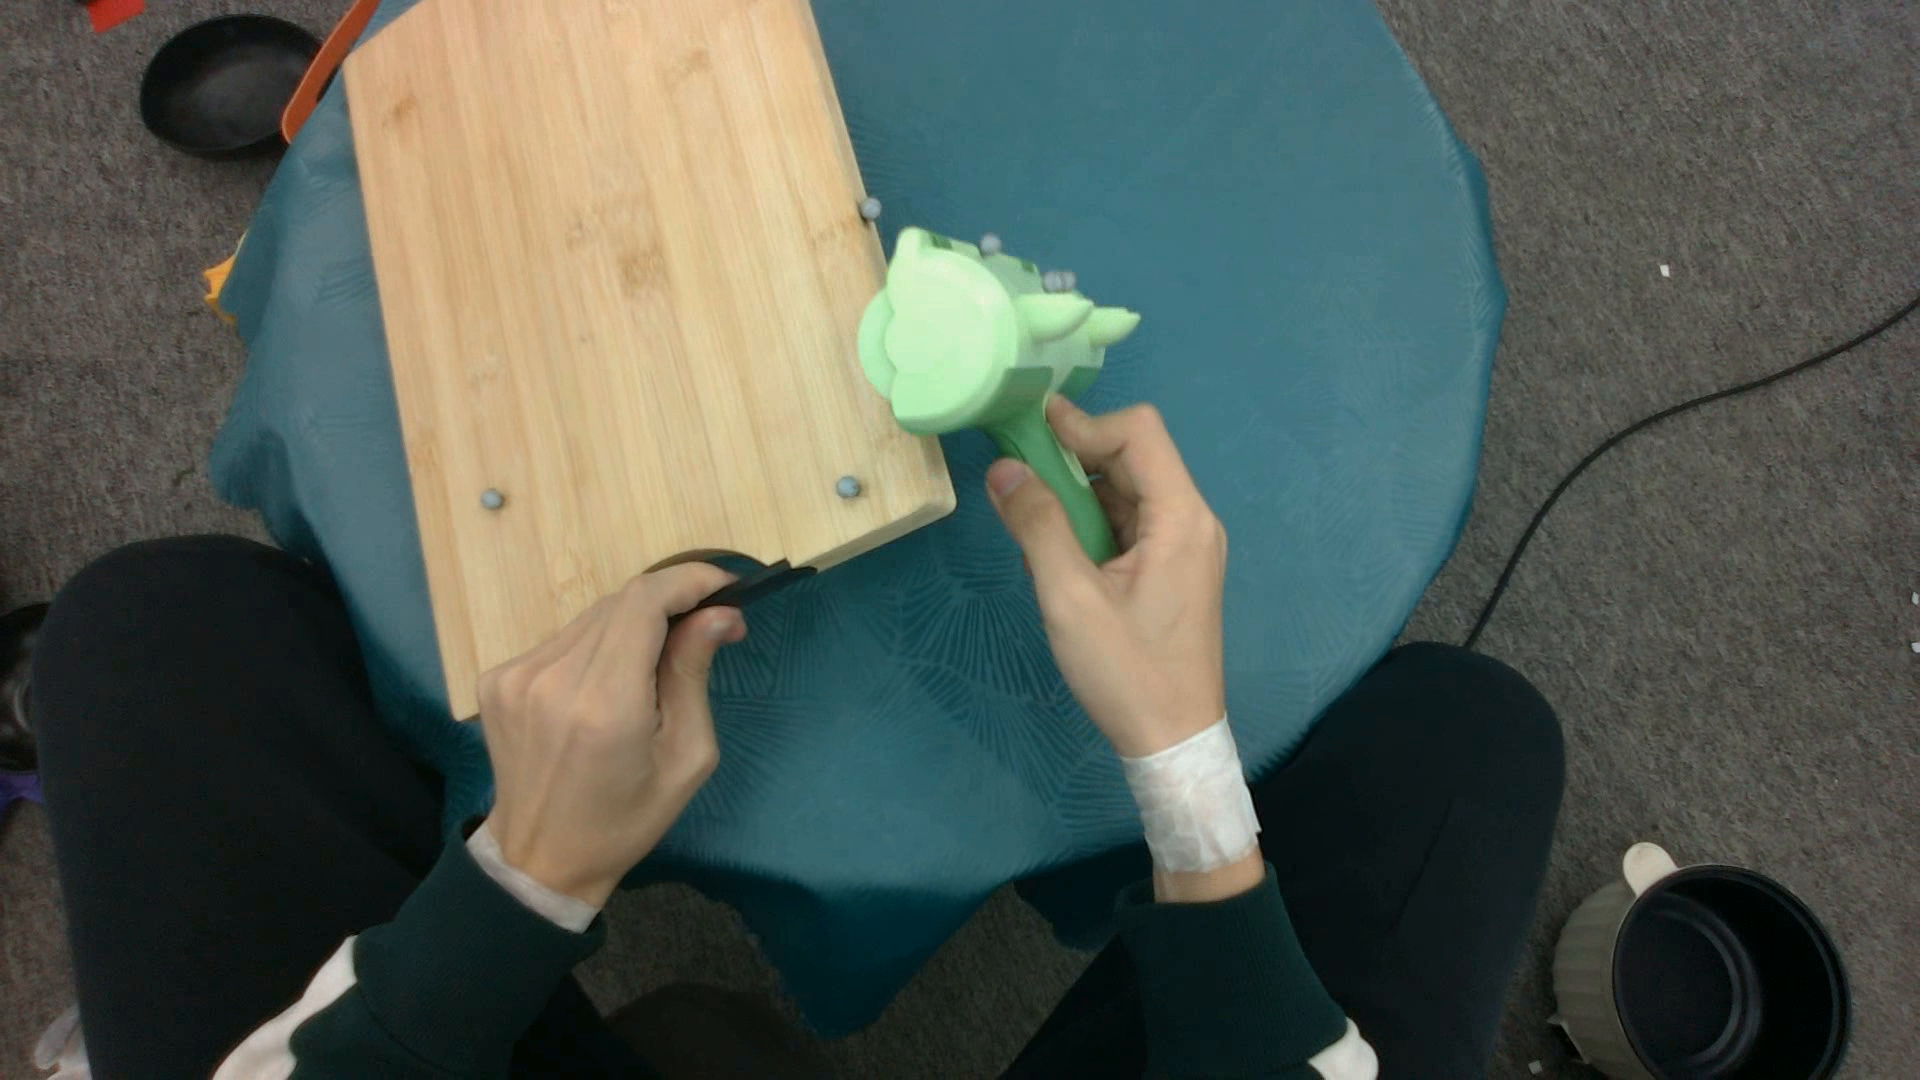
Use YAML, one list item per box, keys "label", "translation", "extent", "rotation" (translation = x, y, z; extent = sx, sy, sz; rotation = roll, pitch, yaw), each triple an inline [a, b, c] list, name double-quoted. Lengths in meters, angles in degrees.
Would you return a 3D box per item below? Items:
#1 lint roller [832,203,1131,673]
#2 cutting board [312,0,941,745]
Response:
- label: "lint roller"
  translation: [0.039, -0.043, 0.533]
  extent: [0.082, 0.199, 0.183]
  rotation: [-31, 89, 17]
- label: "cutting board"
  translation: [-0.161, -0.119, 0.586]
  extent: [0.250, 0.023, 0.349]
  rotation: [-26, 71, 22]
